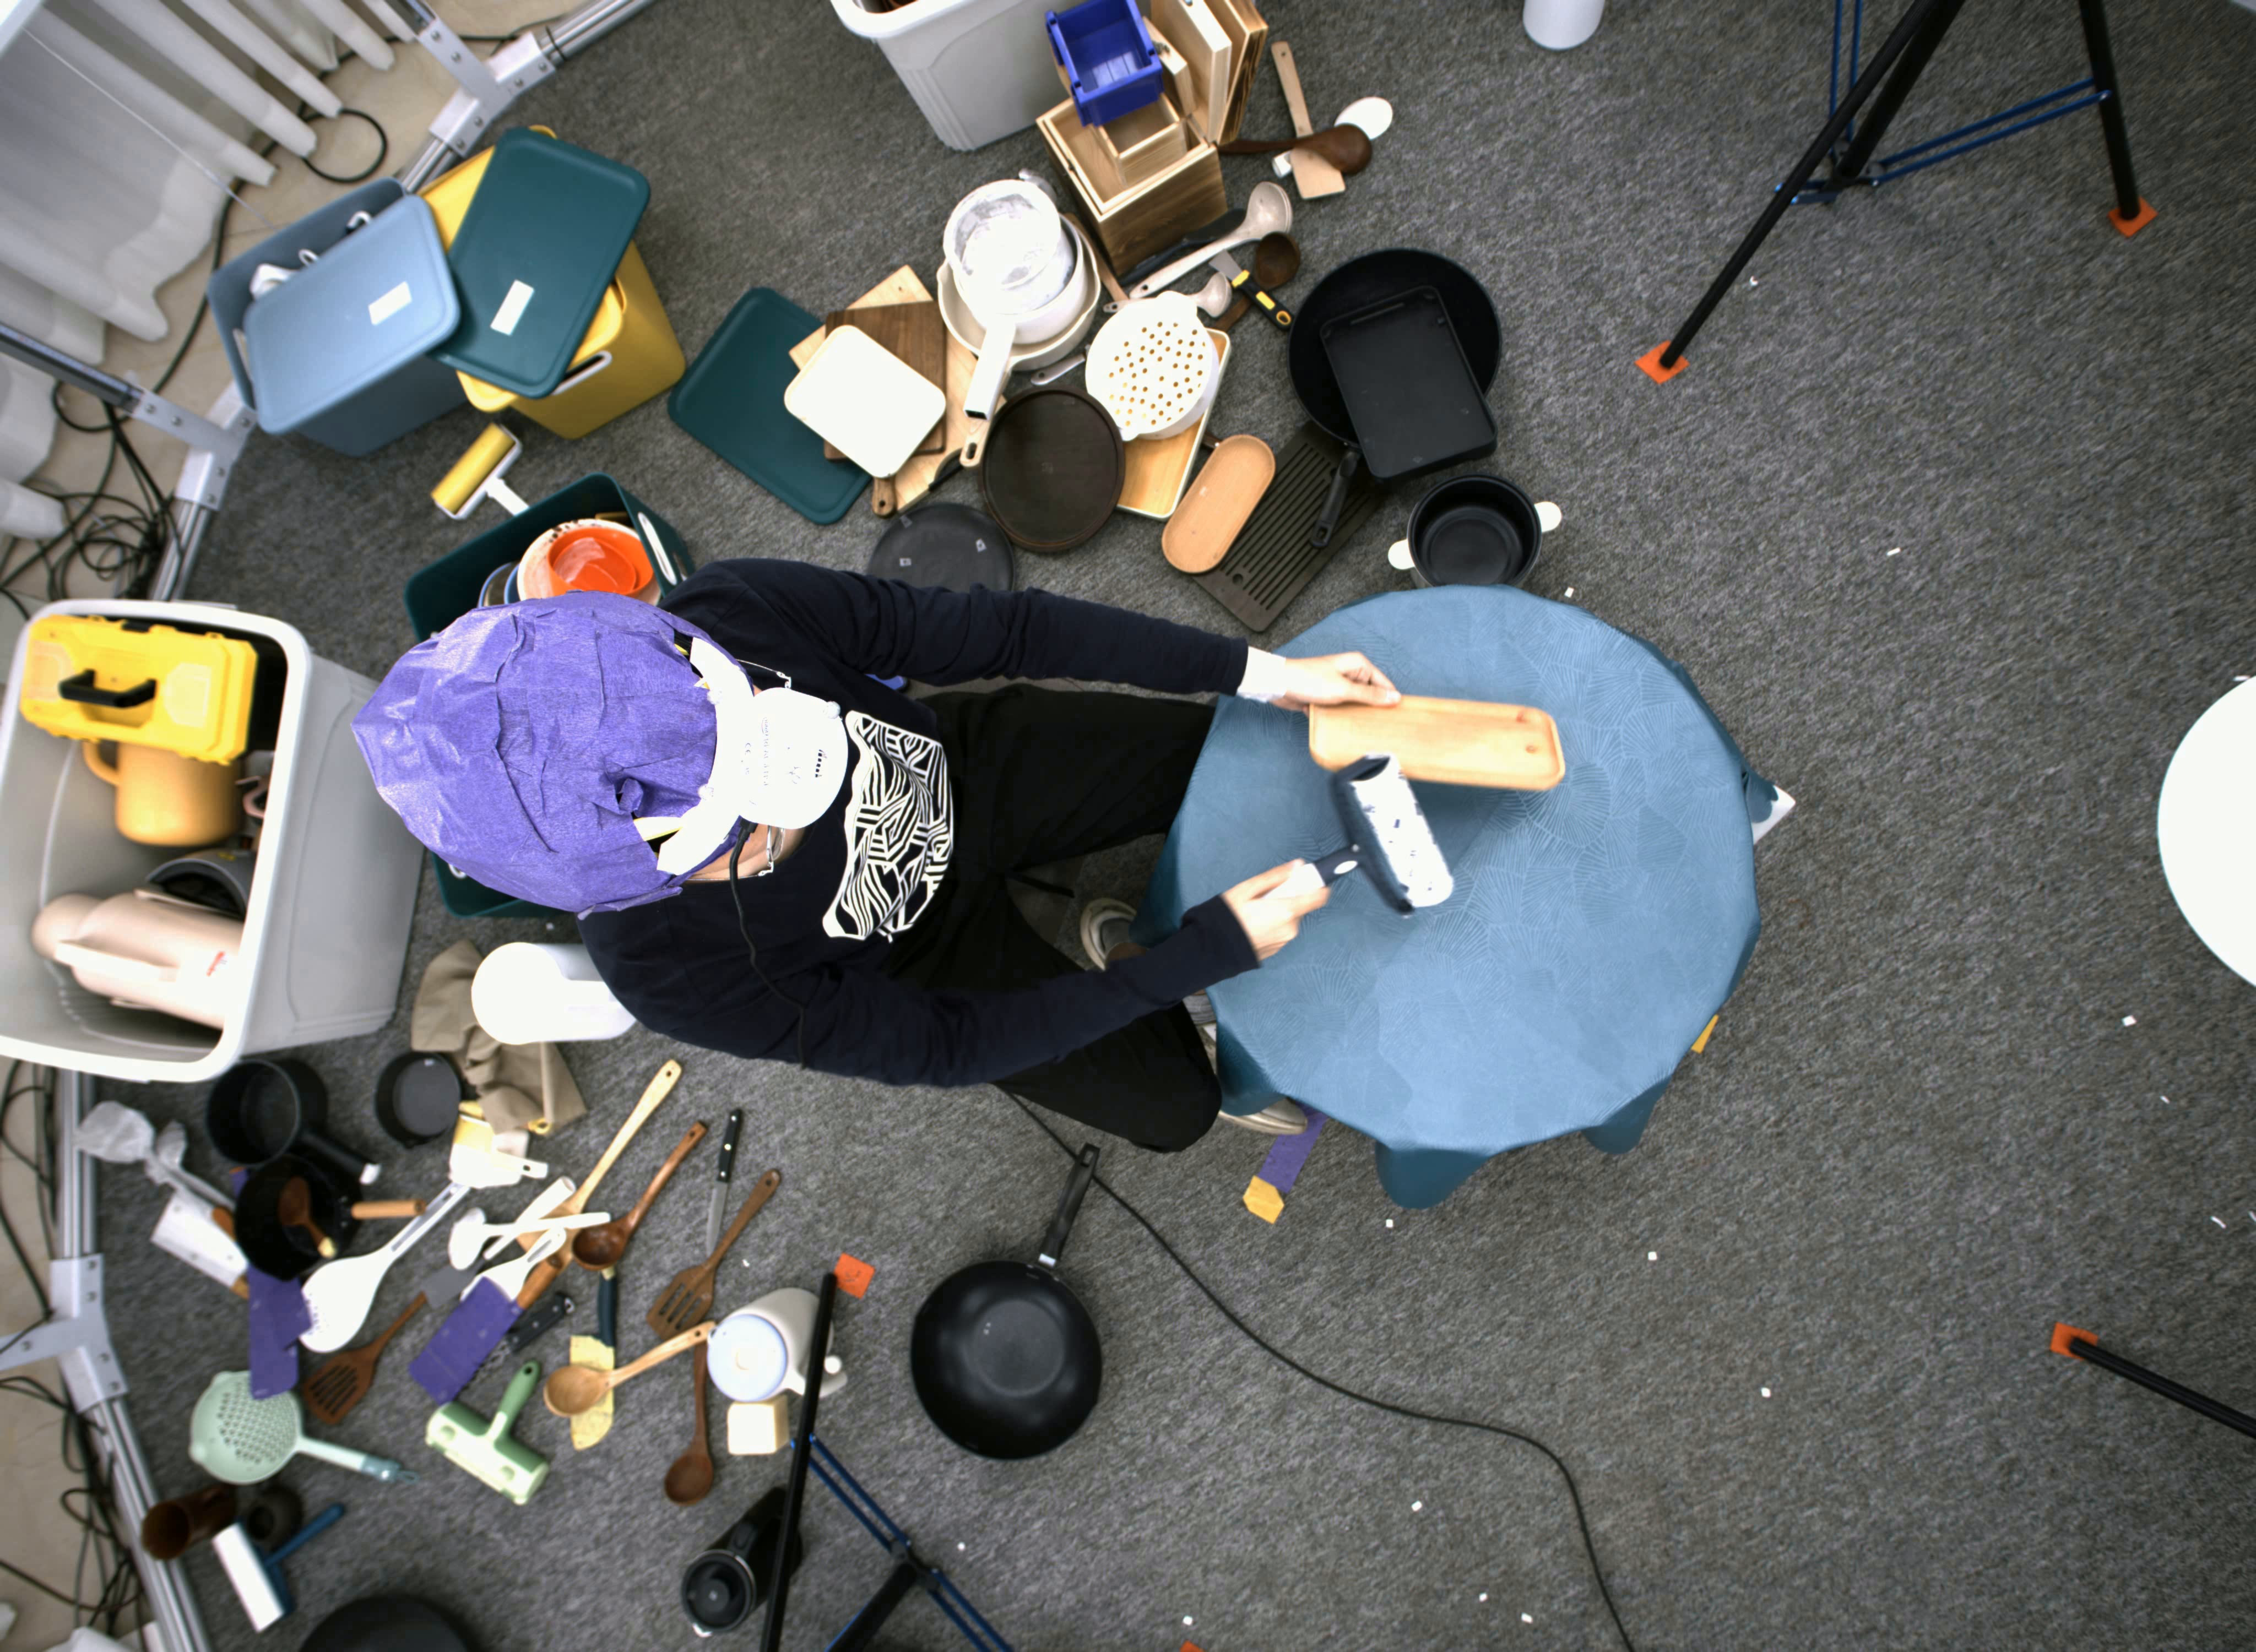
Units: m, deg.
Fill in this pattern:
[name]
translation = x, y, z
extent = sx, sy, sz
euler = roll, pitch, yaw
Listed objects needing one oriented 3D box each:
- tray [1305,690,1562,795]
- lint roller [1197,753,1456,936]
[tray]
translation = 0.302, -0.085, 1.369
extent = 0.251, 0.127, 0.023
euler = 6, 129, 5
[lint roller]
translation = 0.182, 0.051, 1.350
extent = 0.249, 0.049, 0.179
euler = -28, 121, 9
